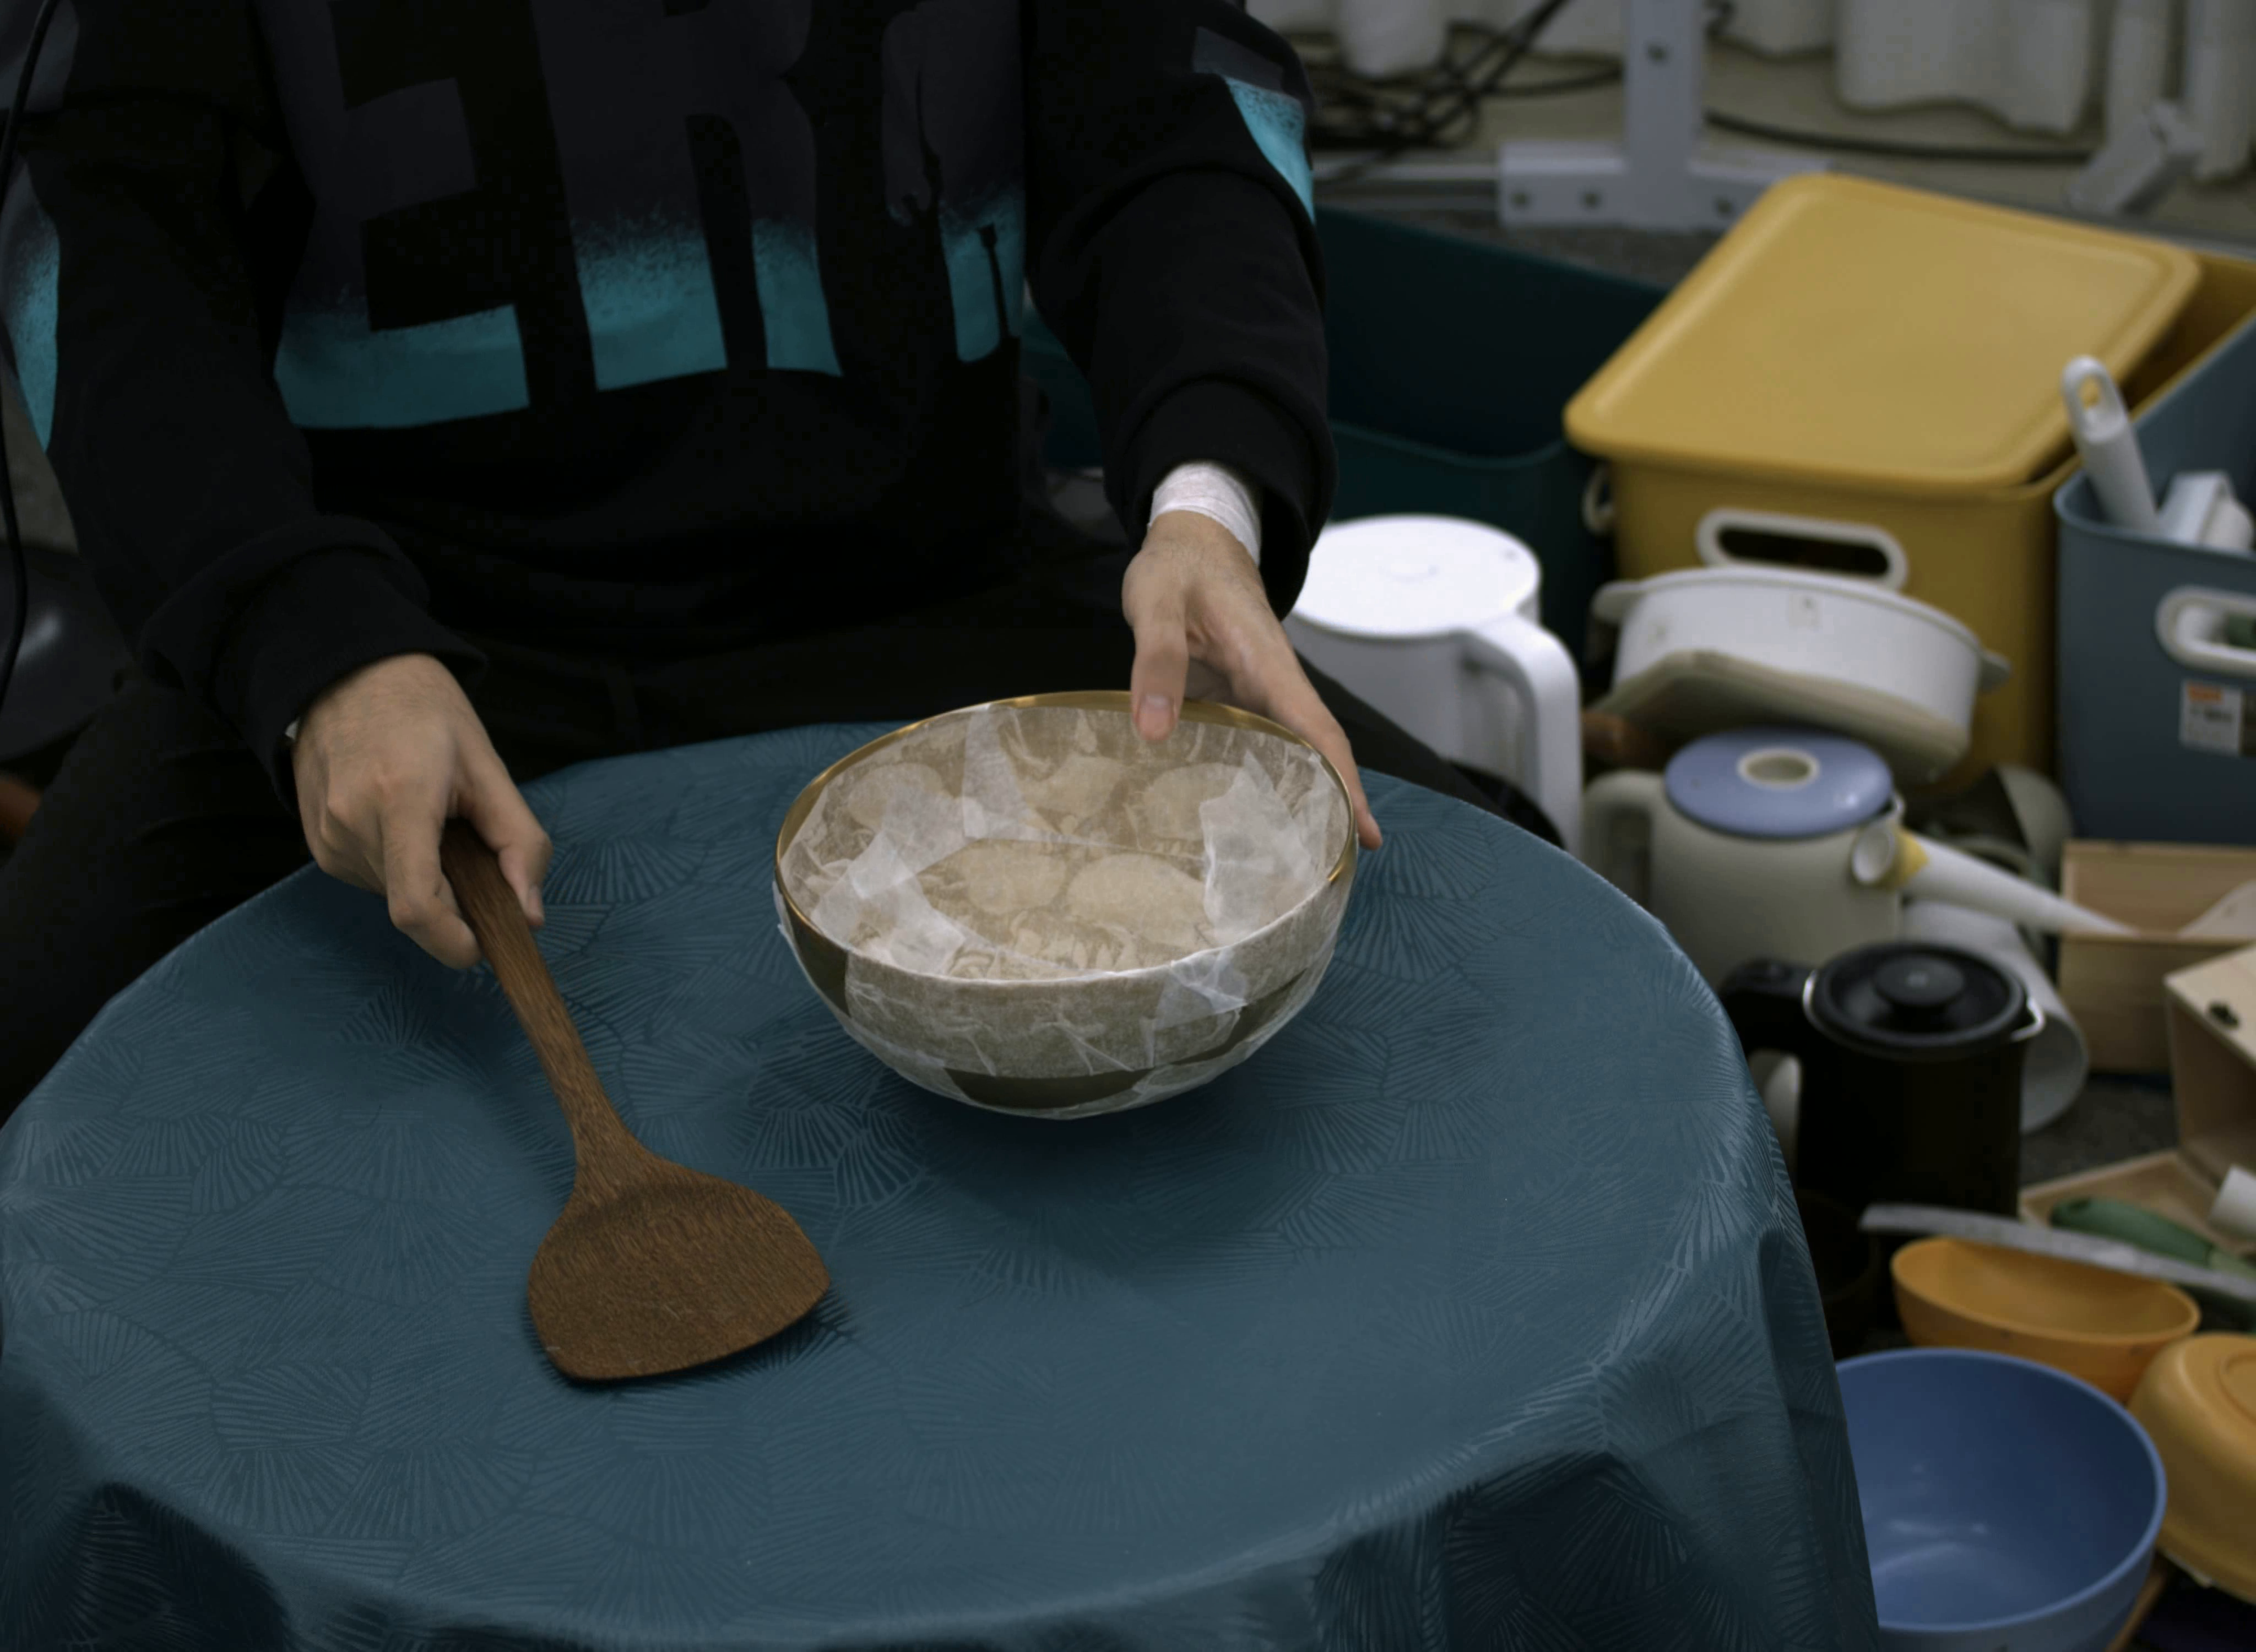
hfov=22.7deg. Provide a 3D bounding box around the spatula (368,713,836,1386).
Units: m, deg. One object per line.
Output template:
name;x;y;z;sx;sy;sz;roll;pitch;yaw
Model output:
spatula;-0.200;0.066;1.919;0.096;0.015;0.390;-15;39;-15

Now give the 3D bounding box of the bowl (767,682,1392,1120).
bowl;-0.015;0.038;1.923;0.213;0.093;0.218;-4;27;3
